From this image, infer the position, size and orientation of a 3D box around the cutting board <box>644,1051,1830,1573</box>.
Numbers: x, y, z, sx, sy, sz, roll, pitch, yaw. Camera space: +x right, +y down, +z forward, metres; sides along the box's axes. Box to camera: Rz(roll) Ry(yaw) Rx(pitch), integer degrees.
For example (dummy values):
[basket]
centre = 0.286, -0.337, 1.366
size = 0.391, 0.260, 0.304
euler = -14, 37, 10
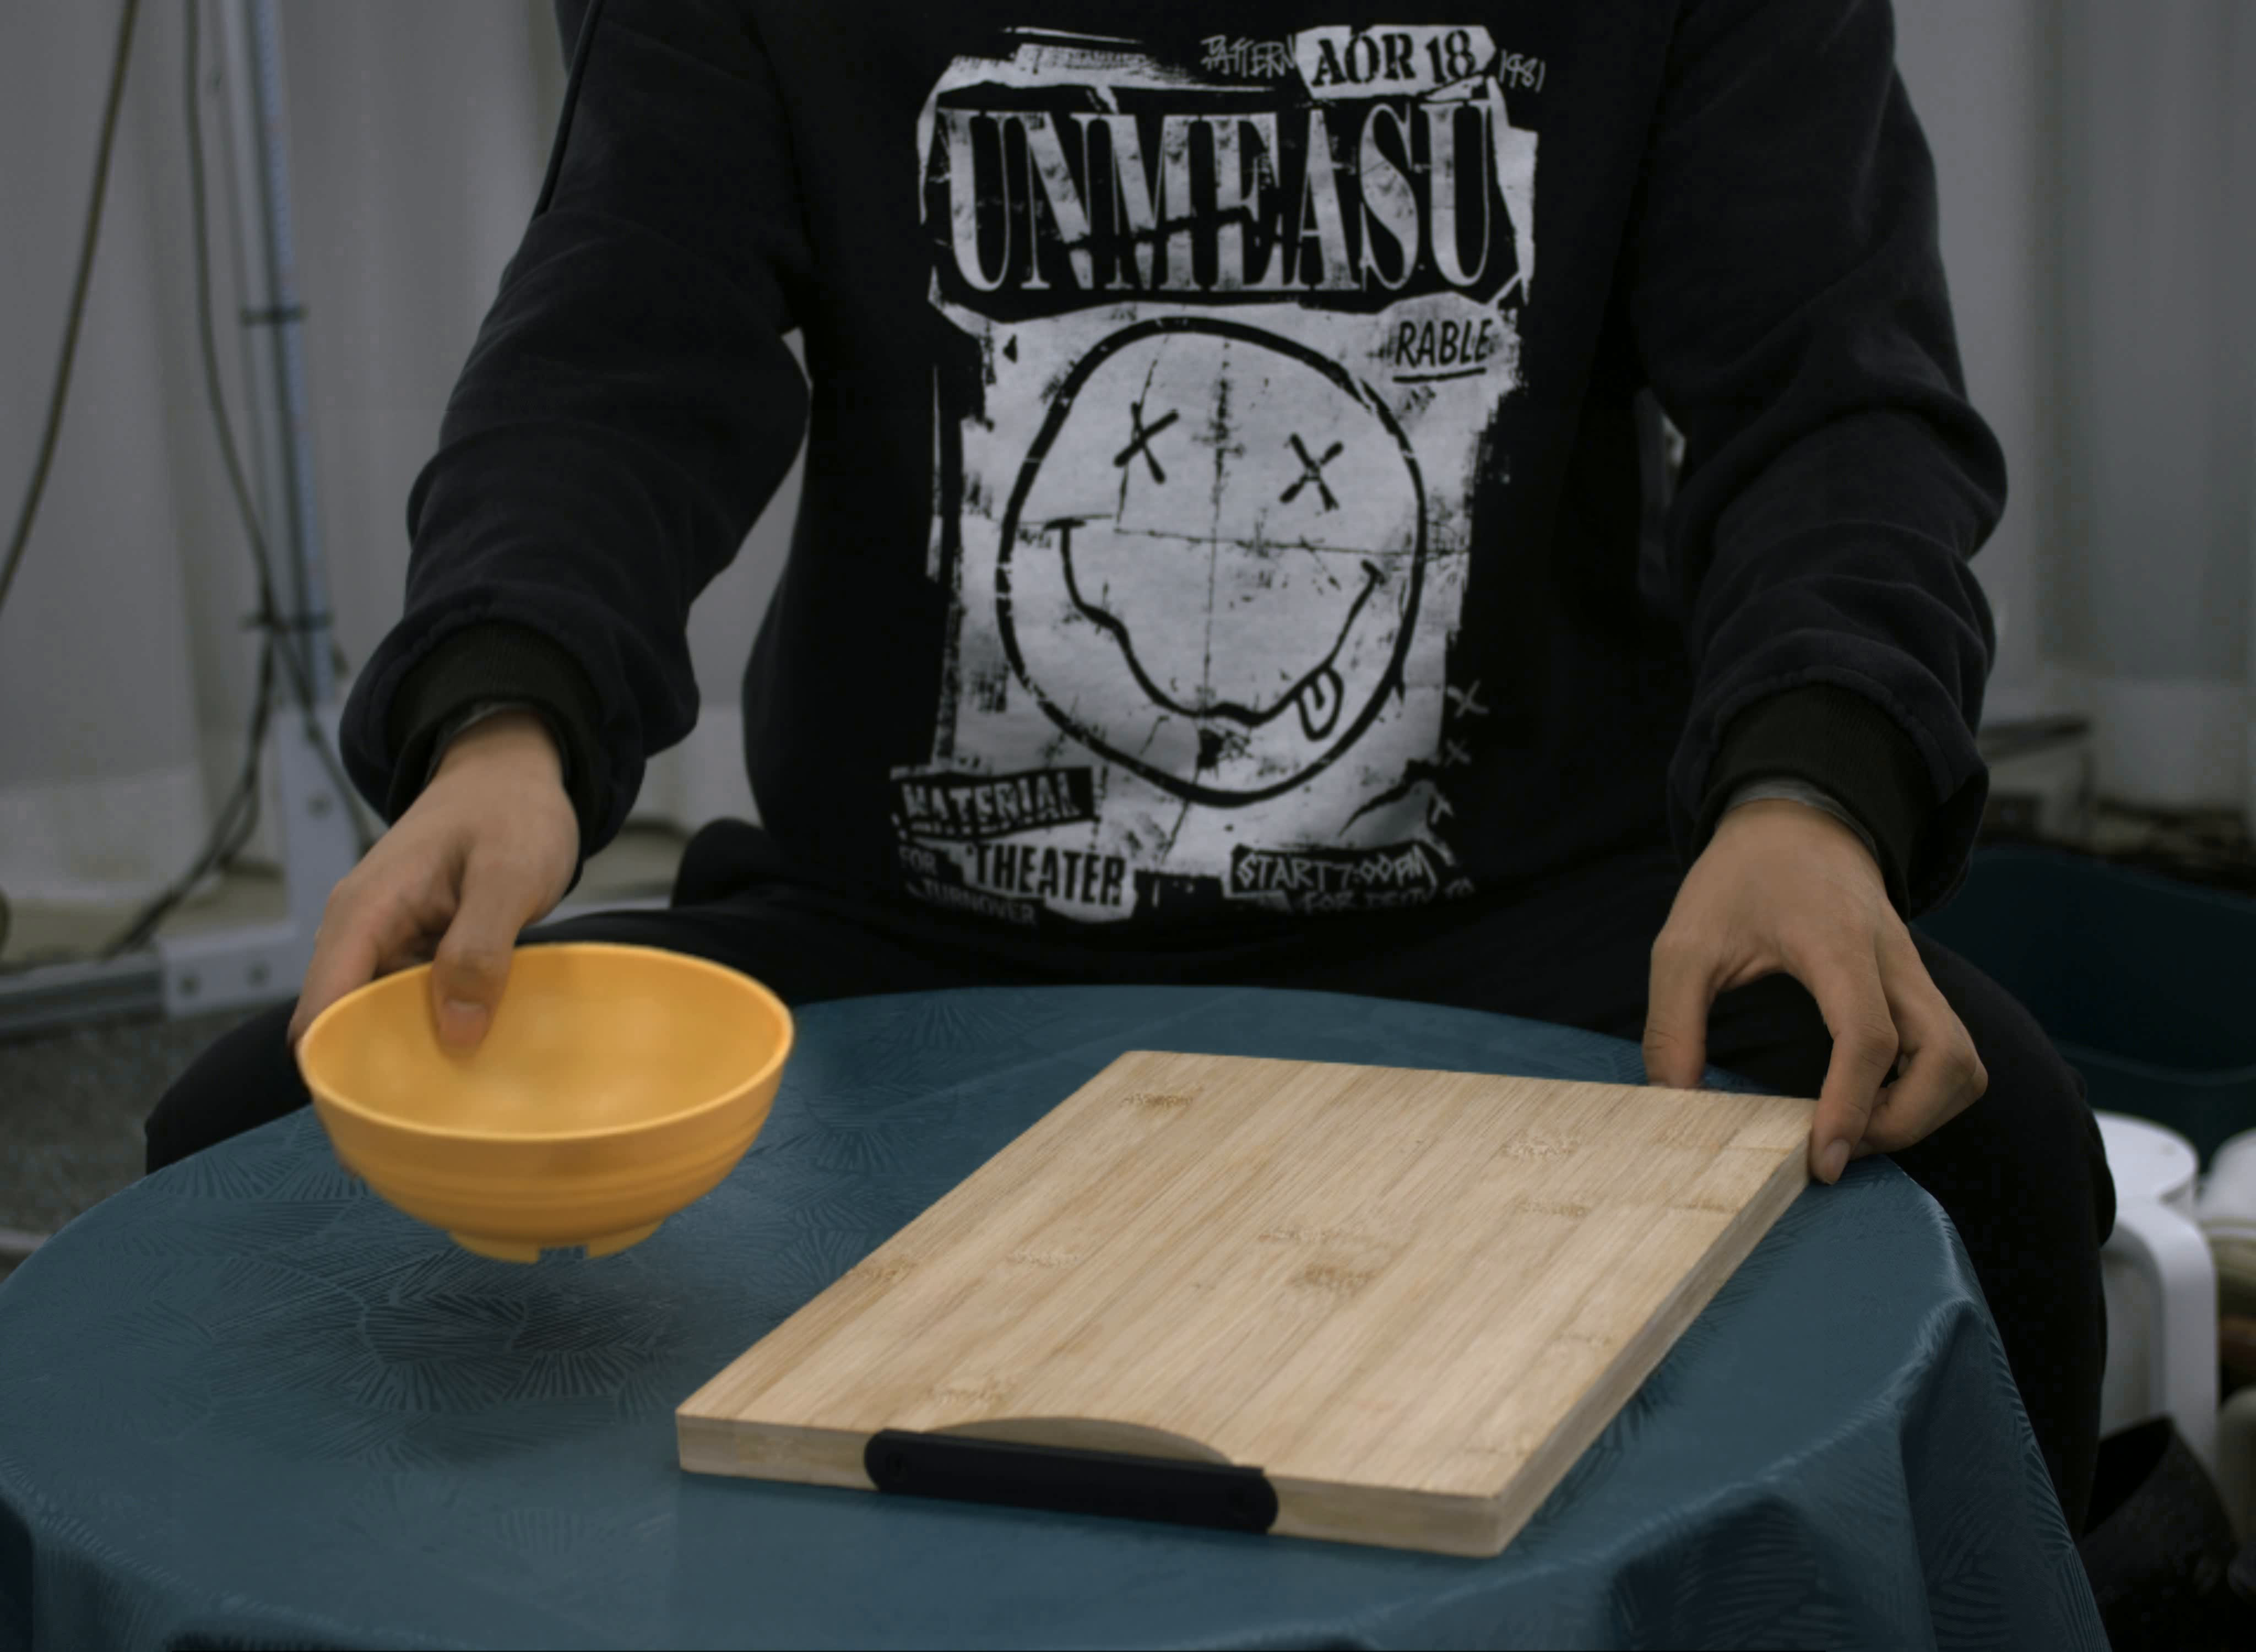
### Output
[cutting board]
centre = 0.045, 0.135, 1.601
size = 0.251, 0.023, 0.349
euler = 3, 16, 21

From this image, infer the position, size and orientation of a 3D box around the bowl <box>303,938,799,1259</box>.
[bowl]
centre = -0.169, 0.087, 1.609
size = 0.145, 0.060, 0.146
euler = 2, 20, -1
